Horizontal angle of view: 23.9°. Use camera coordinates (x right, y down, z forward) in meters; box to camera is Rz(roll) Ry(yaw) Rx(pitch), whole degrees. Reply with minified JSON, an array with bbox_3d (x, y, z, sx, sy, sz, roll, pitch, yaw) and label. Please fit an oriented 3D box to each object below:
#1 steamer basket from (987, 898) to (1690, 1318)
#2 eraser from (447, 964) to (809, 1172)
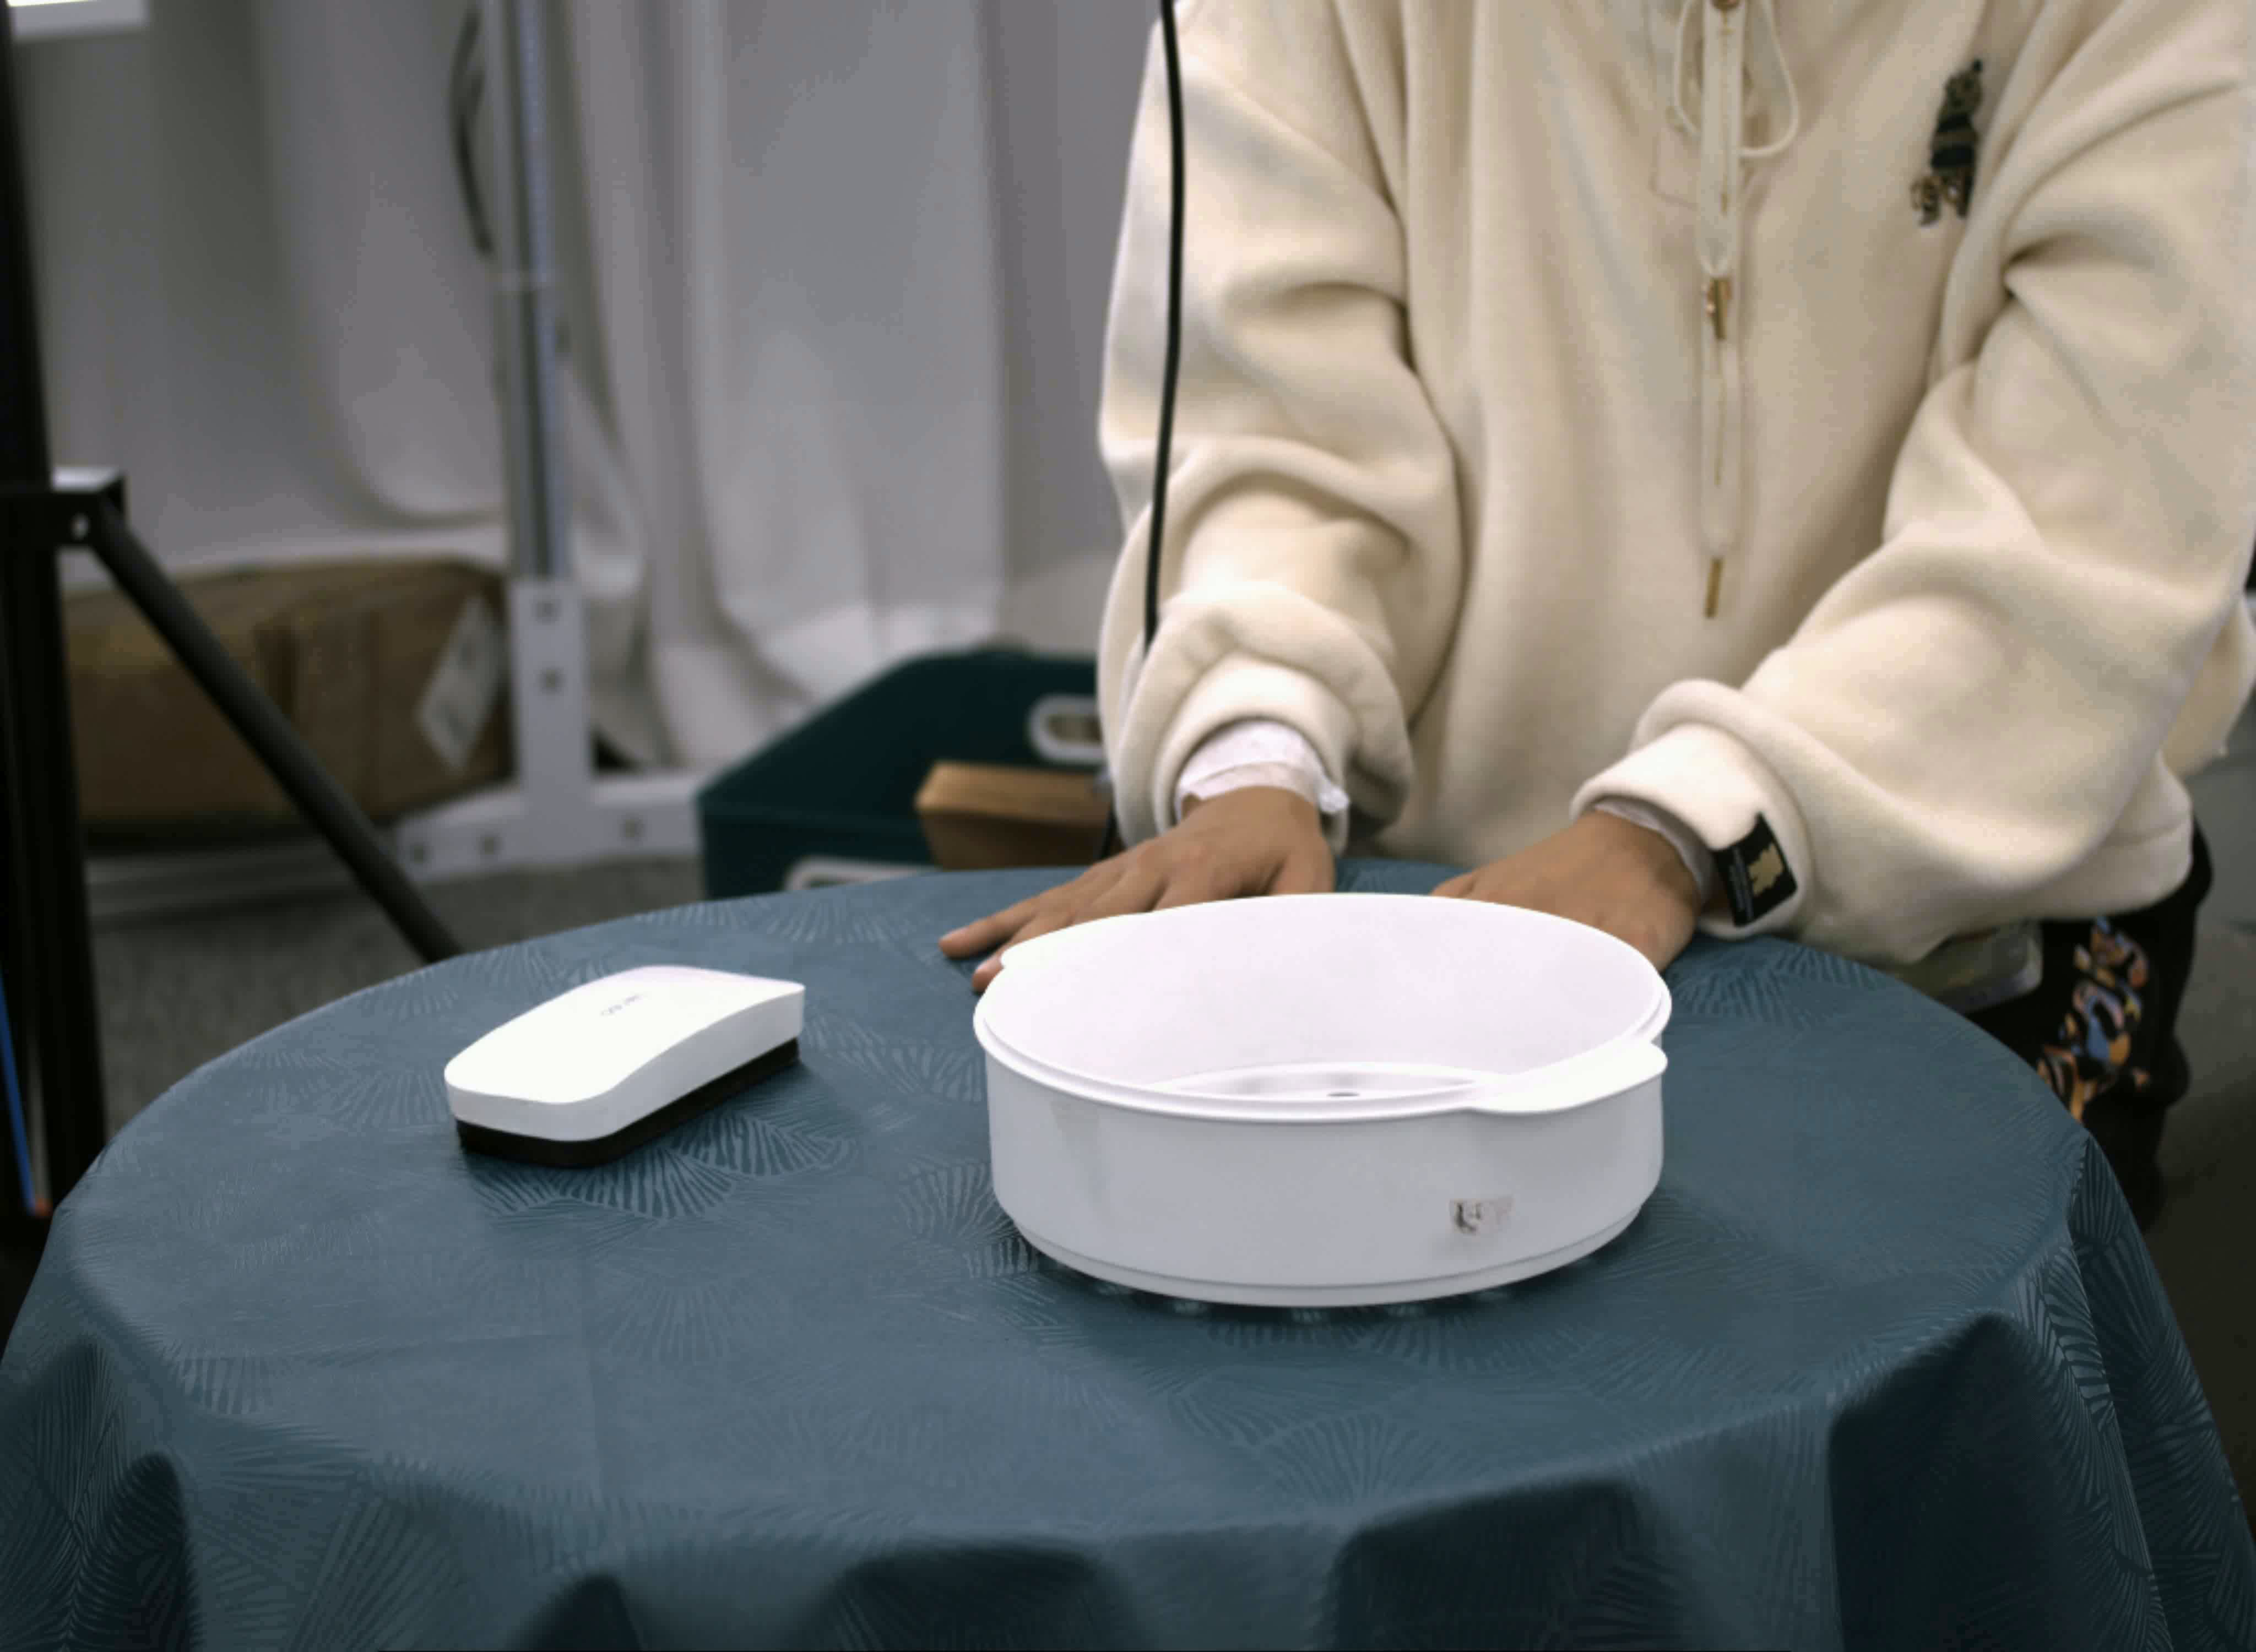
[{"bbox_3d":[0.060,0.080,1.522,0.197,0.069,0.236,-15,21,-39],"label":"steamer basket"},{"bbox_3d":[-0.152,0.071,1.657,0.064,0.034,0.129,6,19,31],"label":"eraser"}]
